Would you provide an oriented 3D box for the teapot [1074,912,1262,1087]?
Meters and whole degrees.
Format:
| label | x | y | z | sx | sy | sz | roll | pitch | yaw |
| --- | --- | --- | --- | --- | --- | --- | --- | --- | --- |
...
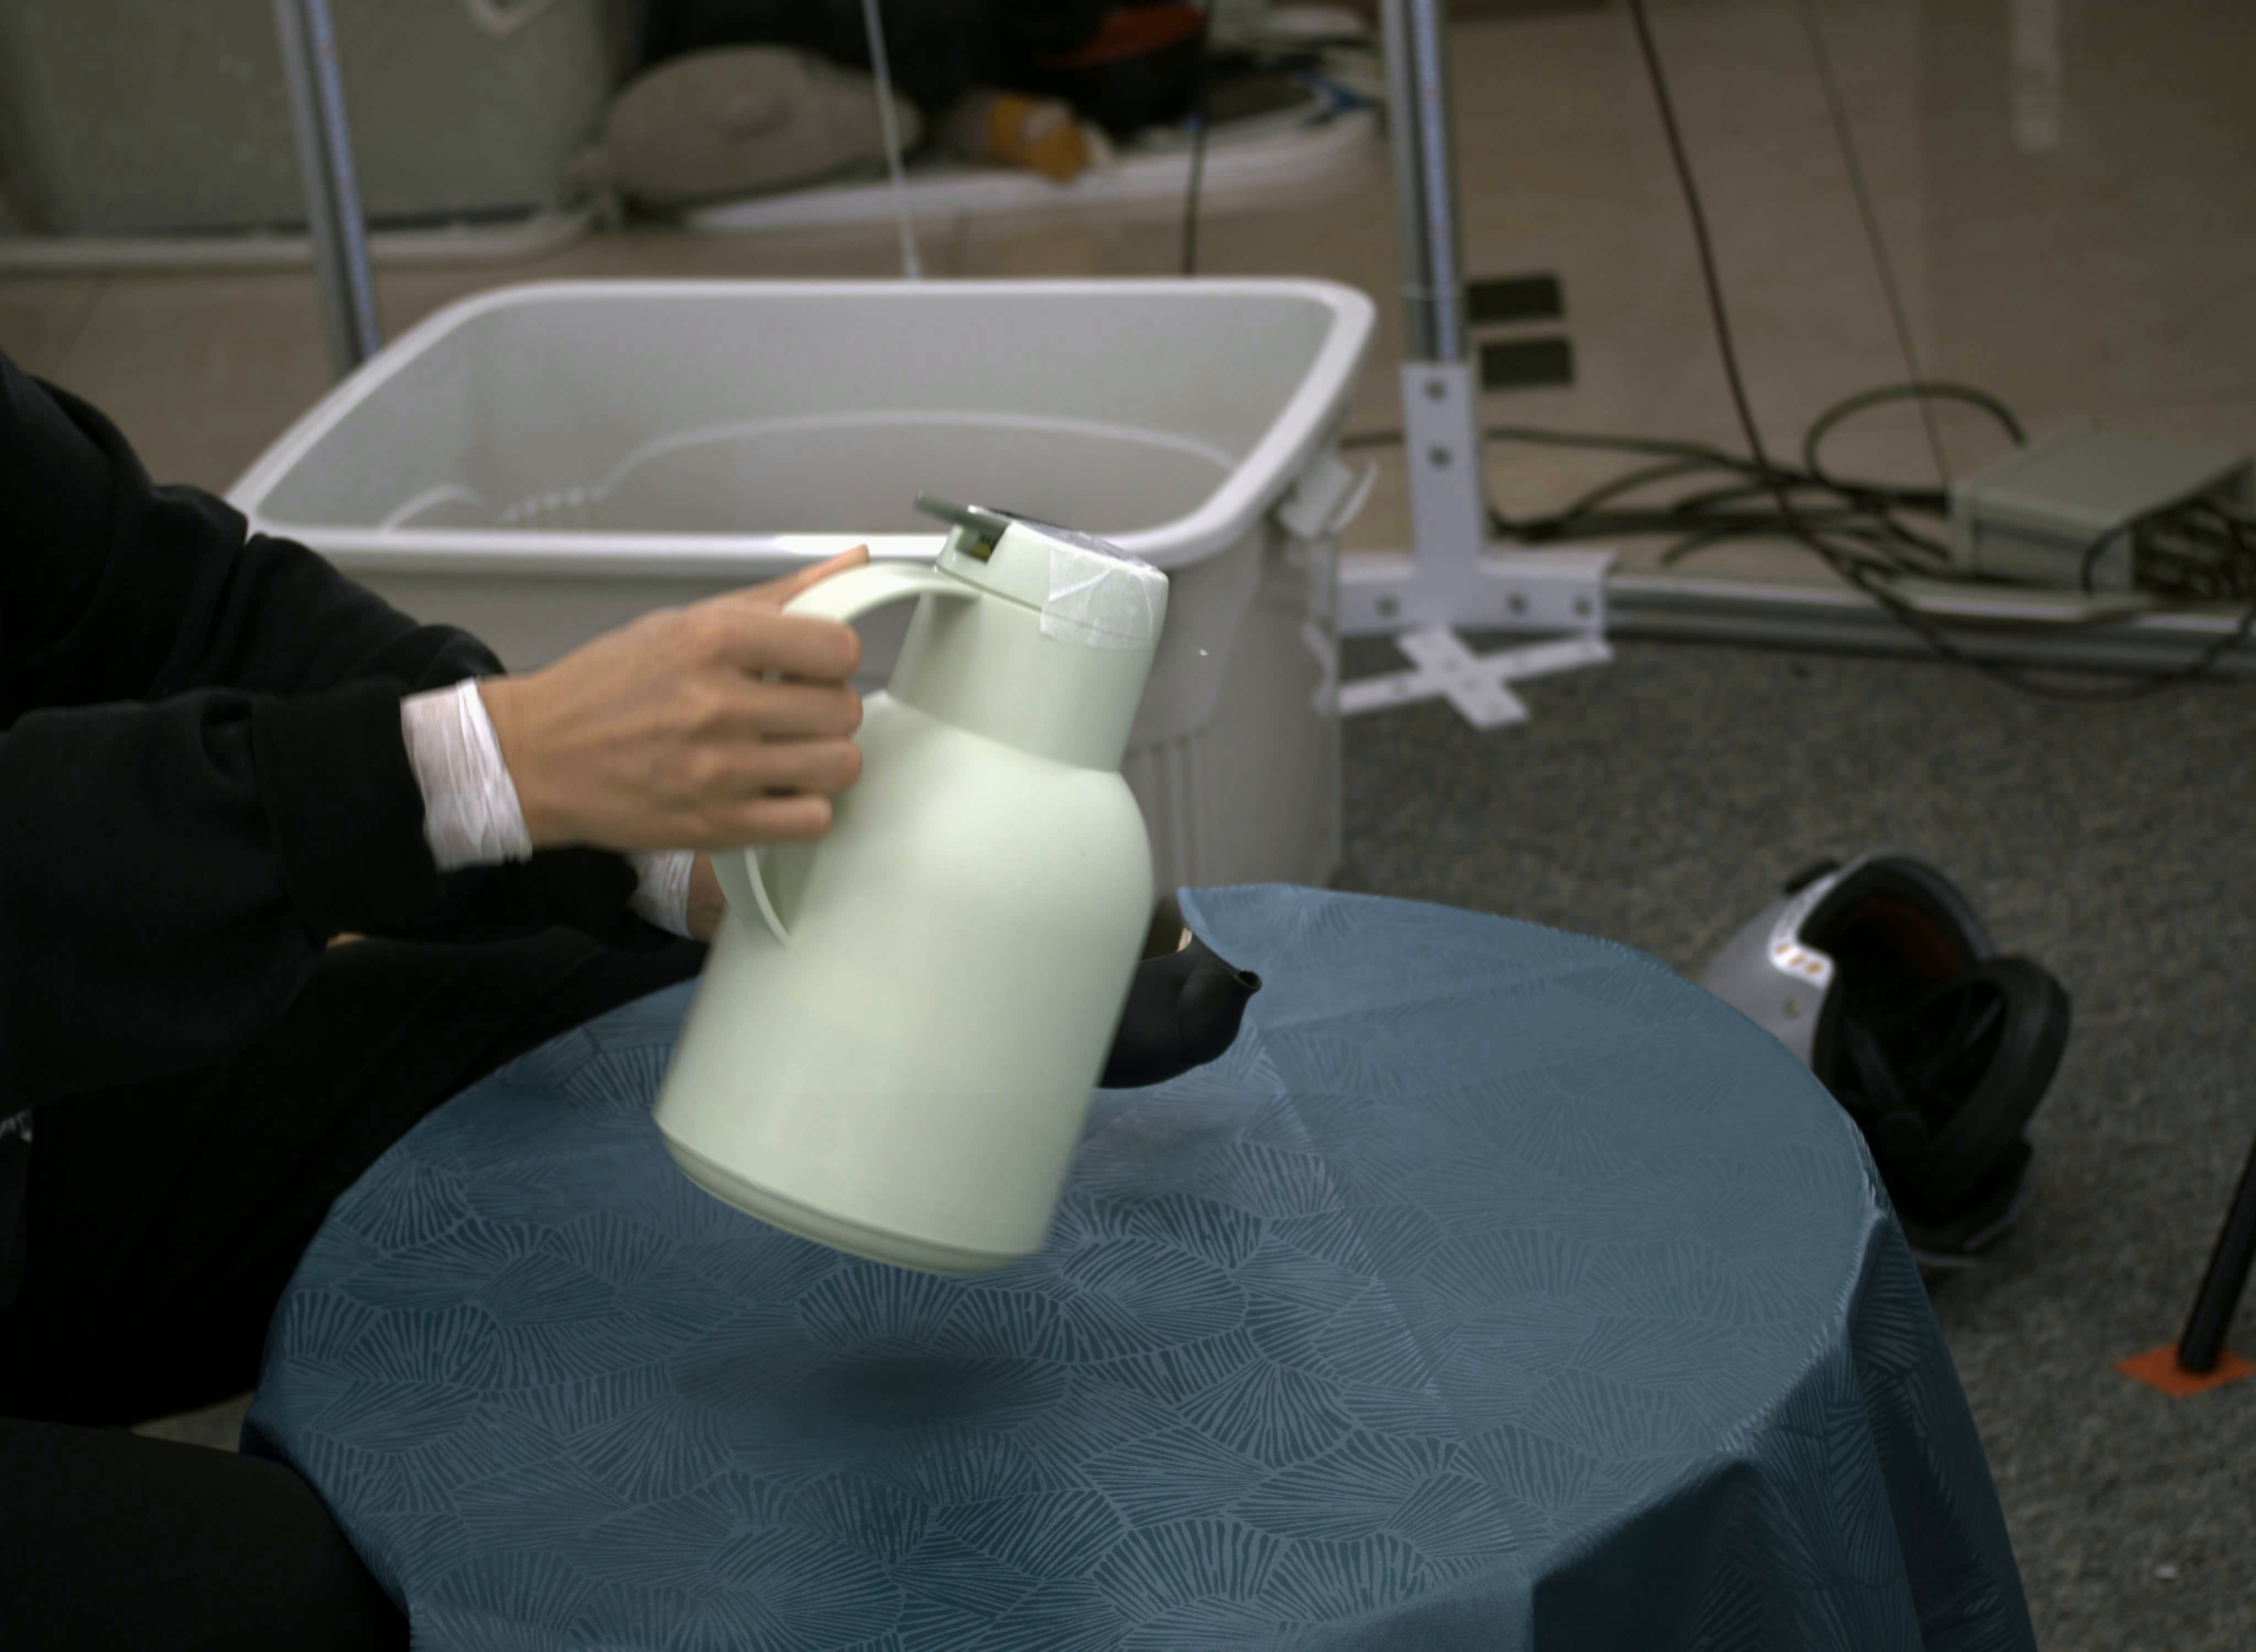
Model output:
| label | x | y | z | sx | sy | sz | roll | pitch | yaw |
| --- | --- | --- | --- | --- | --- | --- | --- | --- | --- |
| teapot | -0.006 | 0.066 | 2.157 | 0.132 | 0.054 | 0.090 | 16 | 23 | 32 |

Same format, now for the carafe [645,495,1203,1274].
| label | x | y | z | sx | sy | sz | roll | pitch | yaw |
| --- | --- | --- | --- | --- | --- | --- | --- | --- | --- |
| carafe | -0.074 | 0.015 | 1.965 | 0.187 | 0.258 | 0.143 | 10 | 12 | -41 |
